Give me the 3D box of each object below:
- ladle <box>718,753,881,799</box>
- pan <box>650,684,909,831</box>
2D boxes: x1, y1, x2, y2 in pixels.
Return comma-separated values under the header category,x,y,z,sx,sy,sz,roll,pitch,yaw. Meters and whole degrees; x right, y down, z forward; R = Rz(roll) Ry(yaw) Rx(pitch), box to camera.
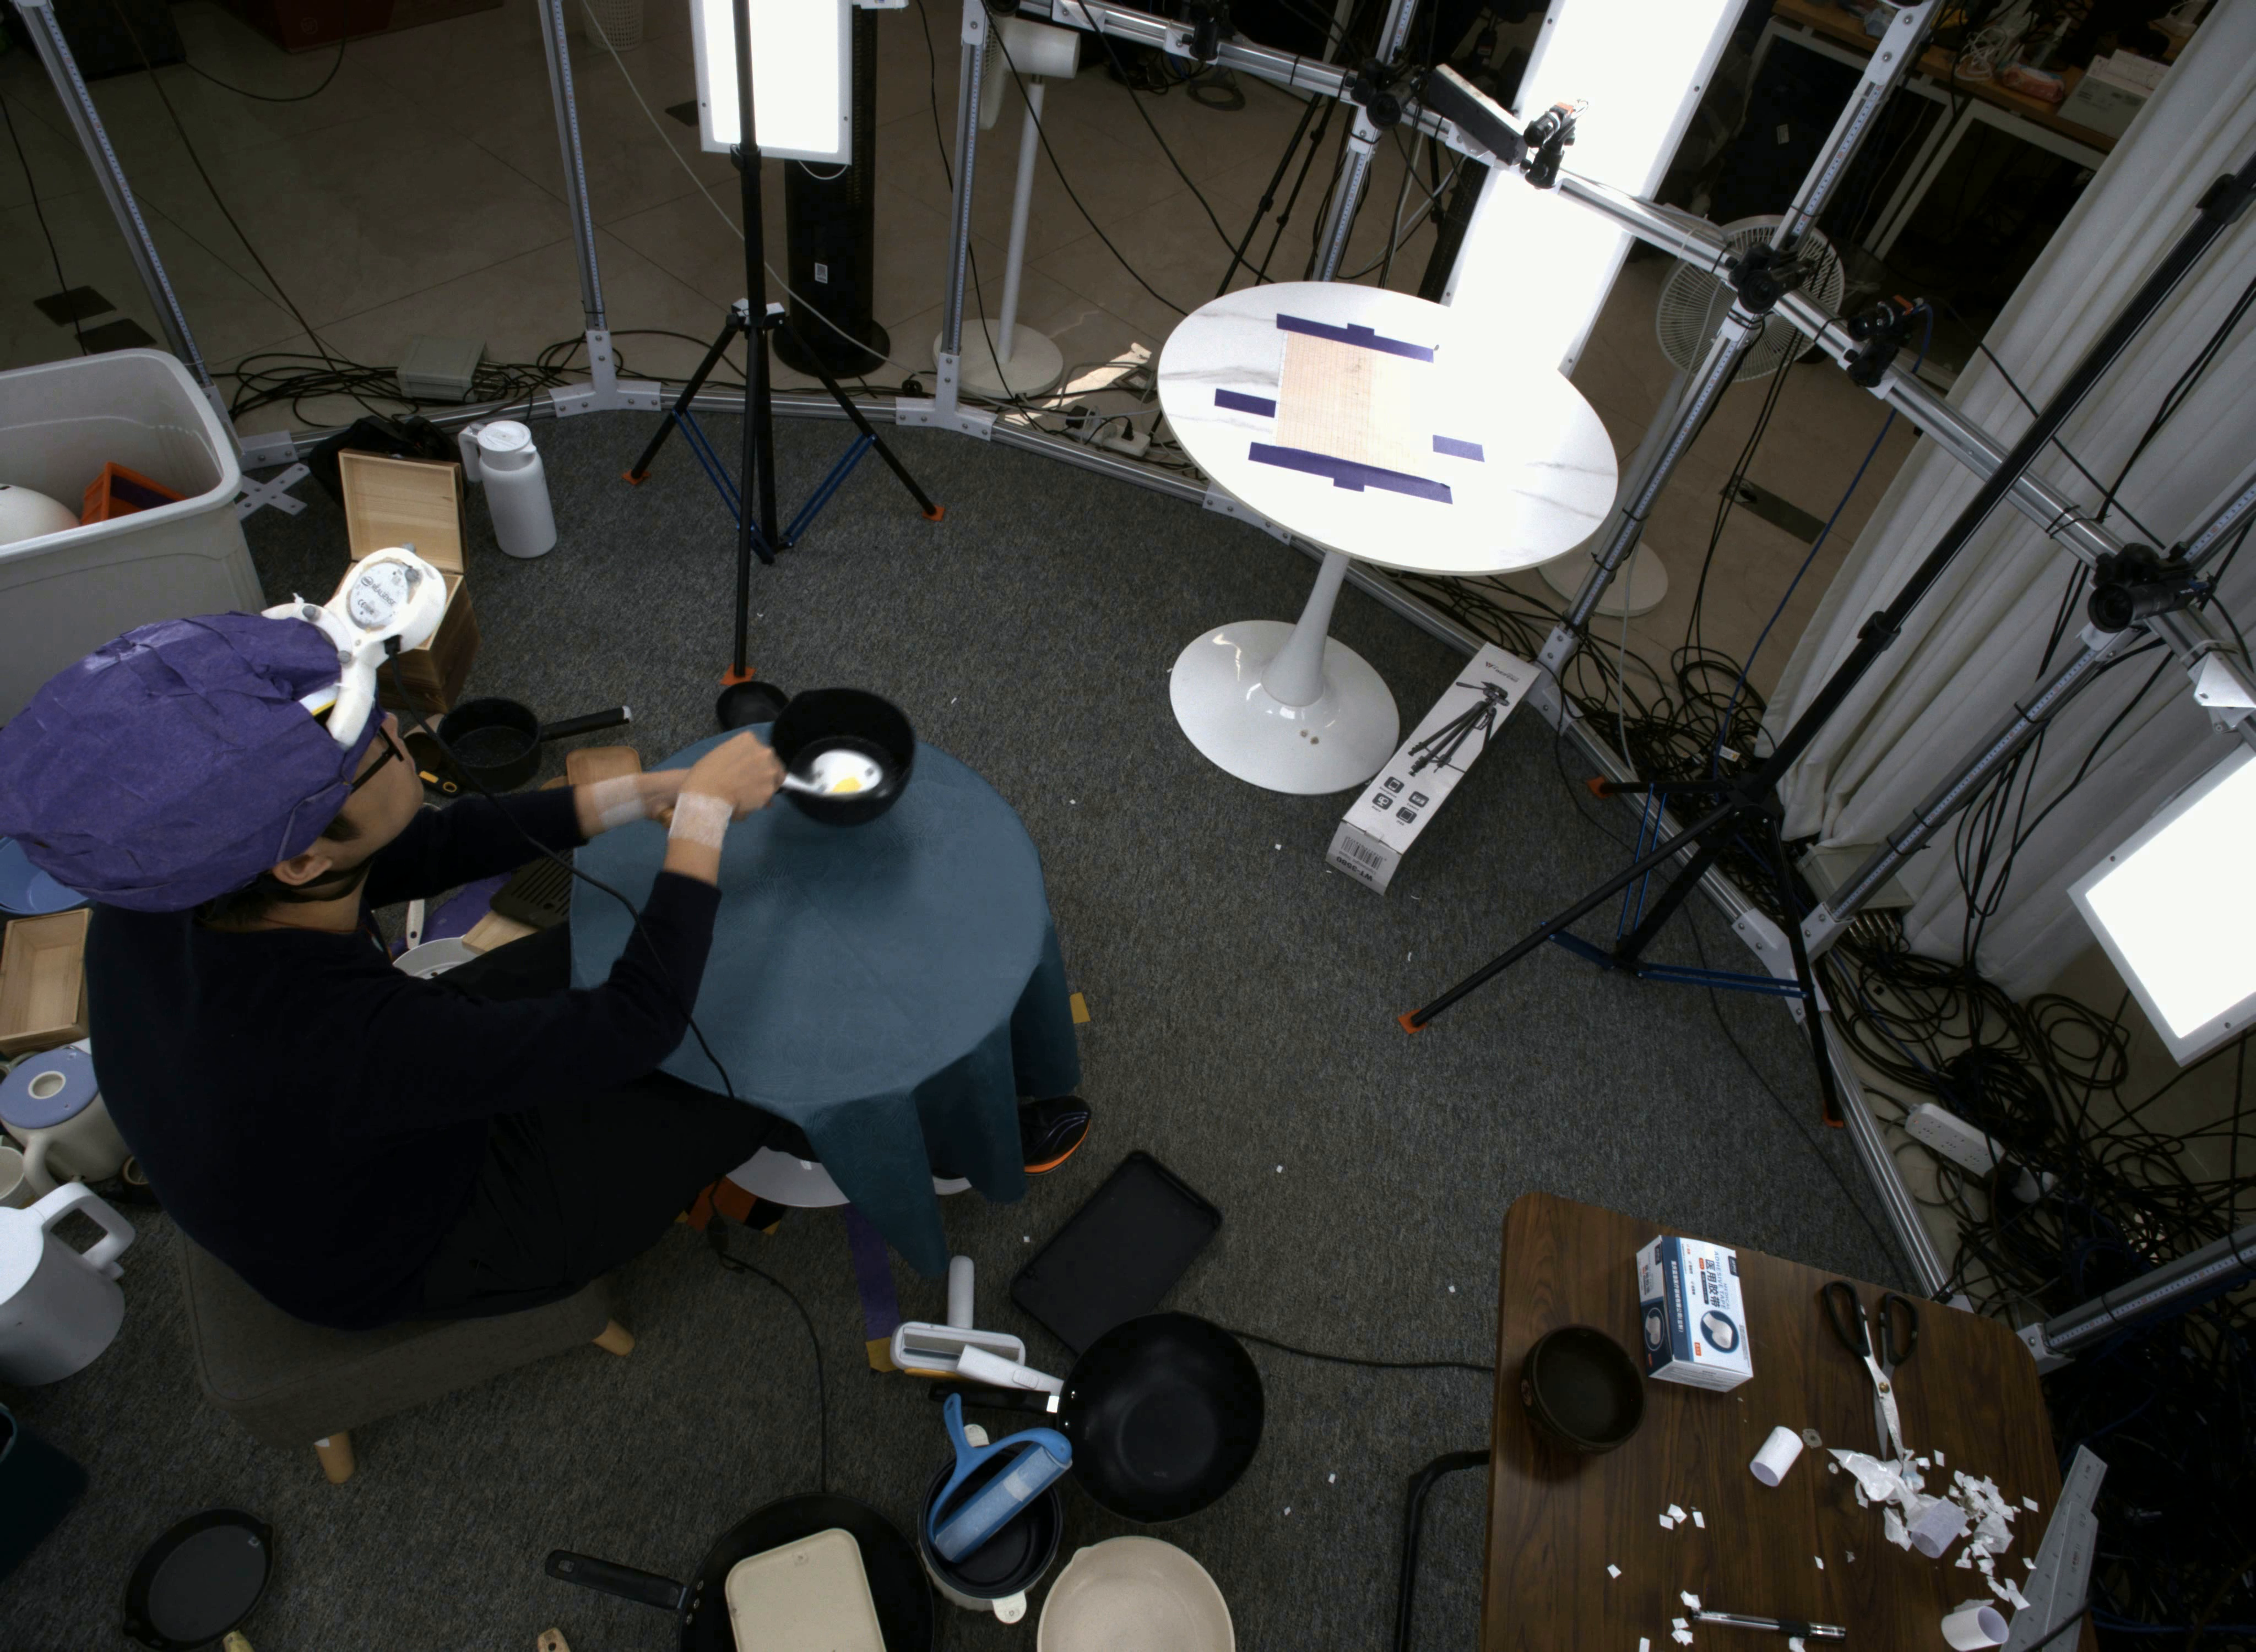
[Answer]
category,x,y,z,sx,sy,sz,roll,pitch,yaw
ladle,-0.391,-0.061,1.549,0.088,0.296,0.070,34,95,12
pan,-0.432,-0.051,1.612,0.344,0.110,0.203,-32,69,-31
